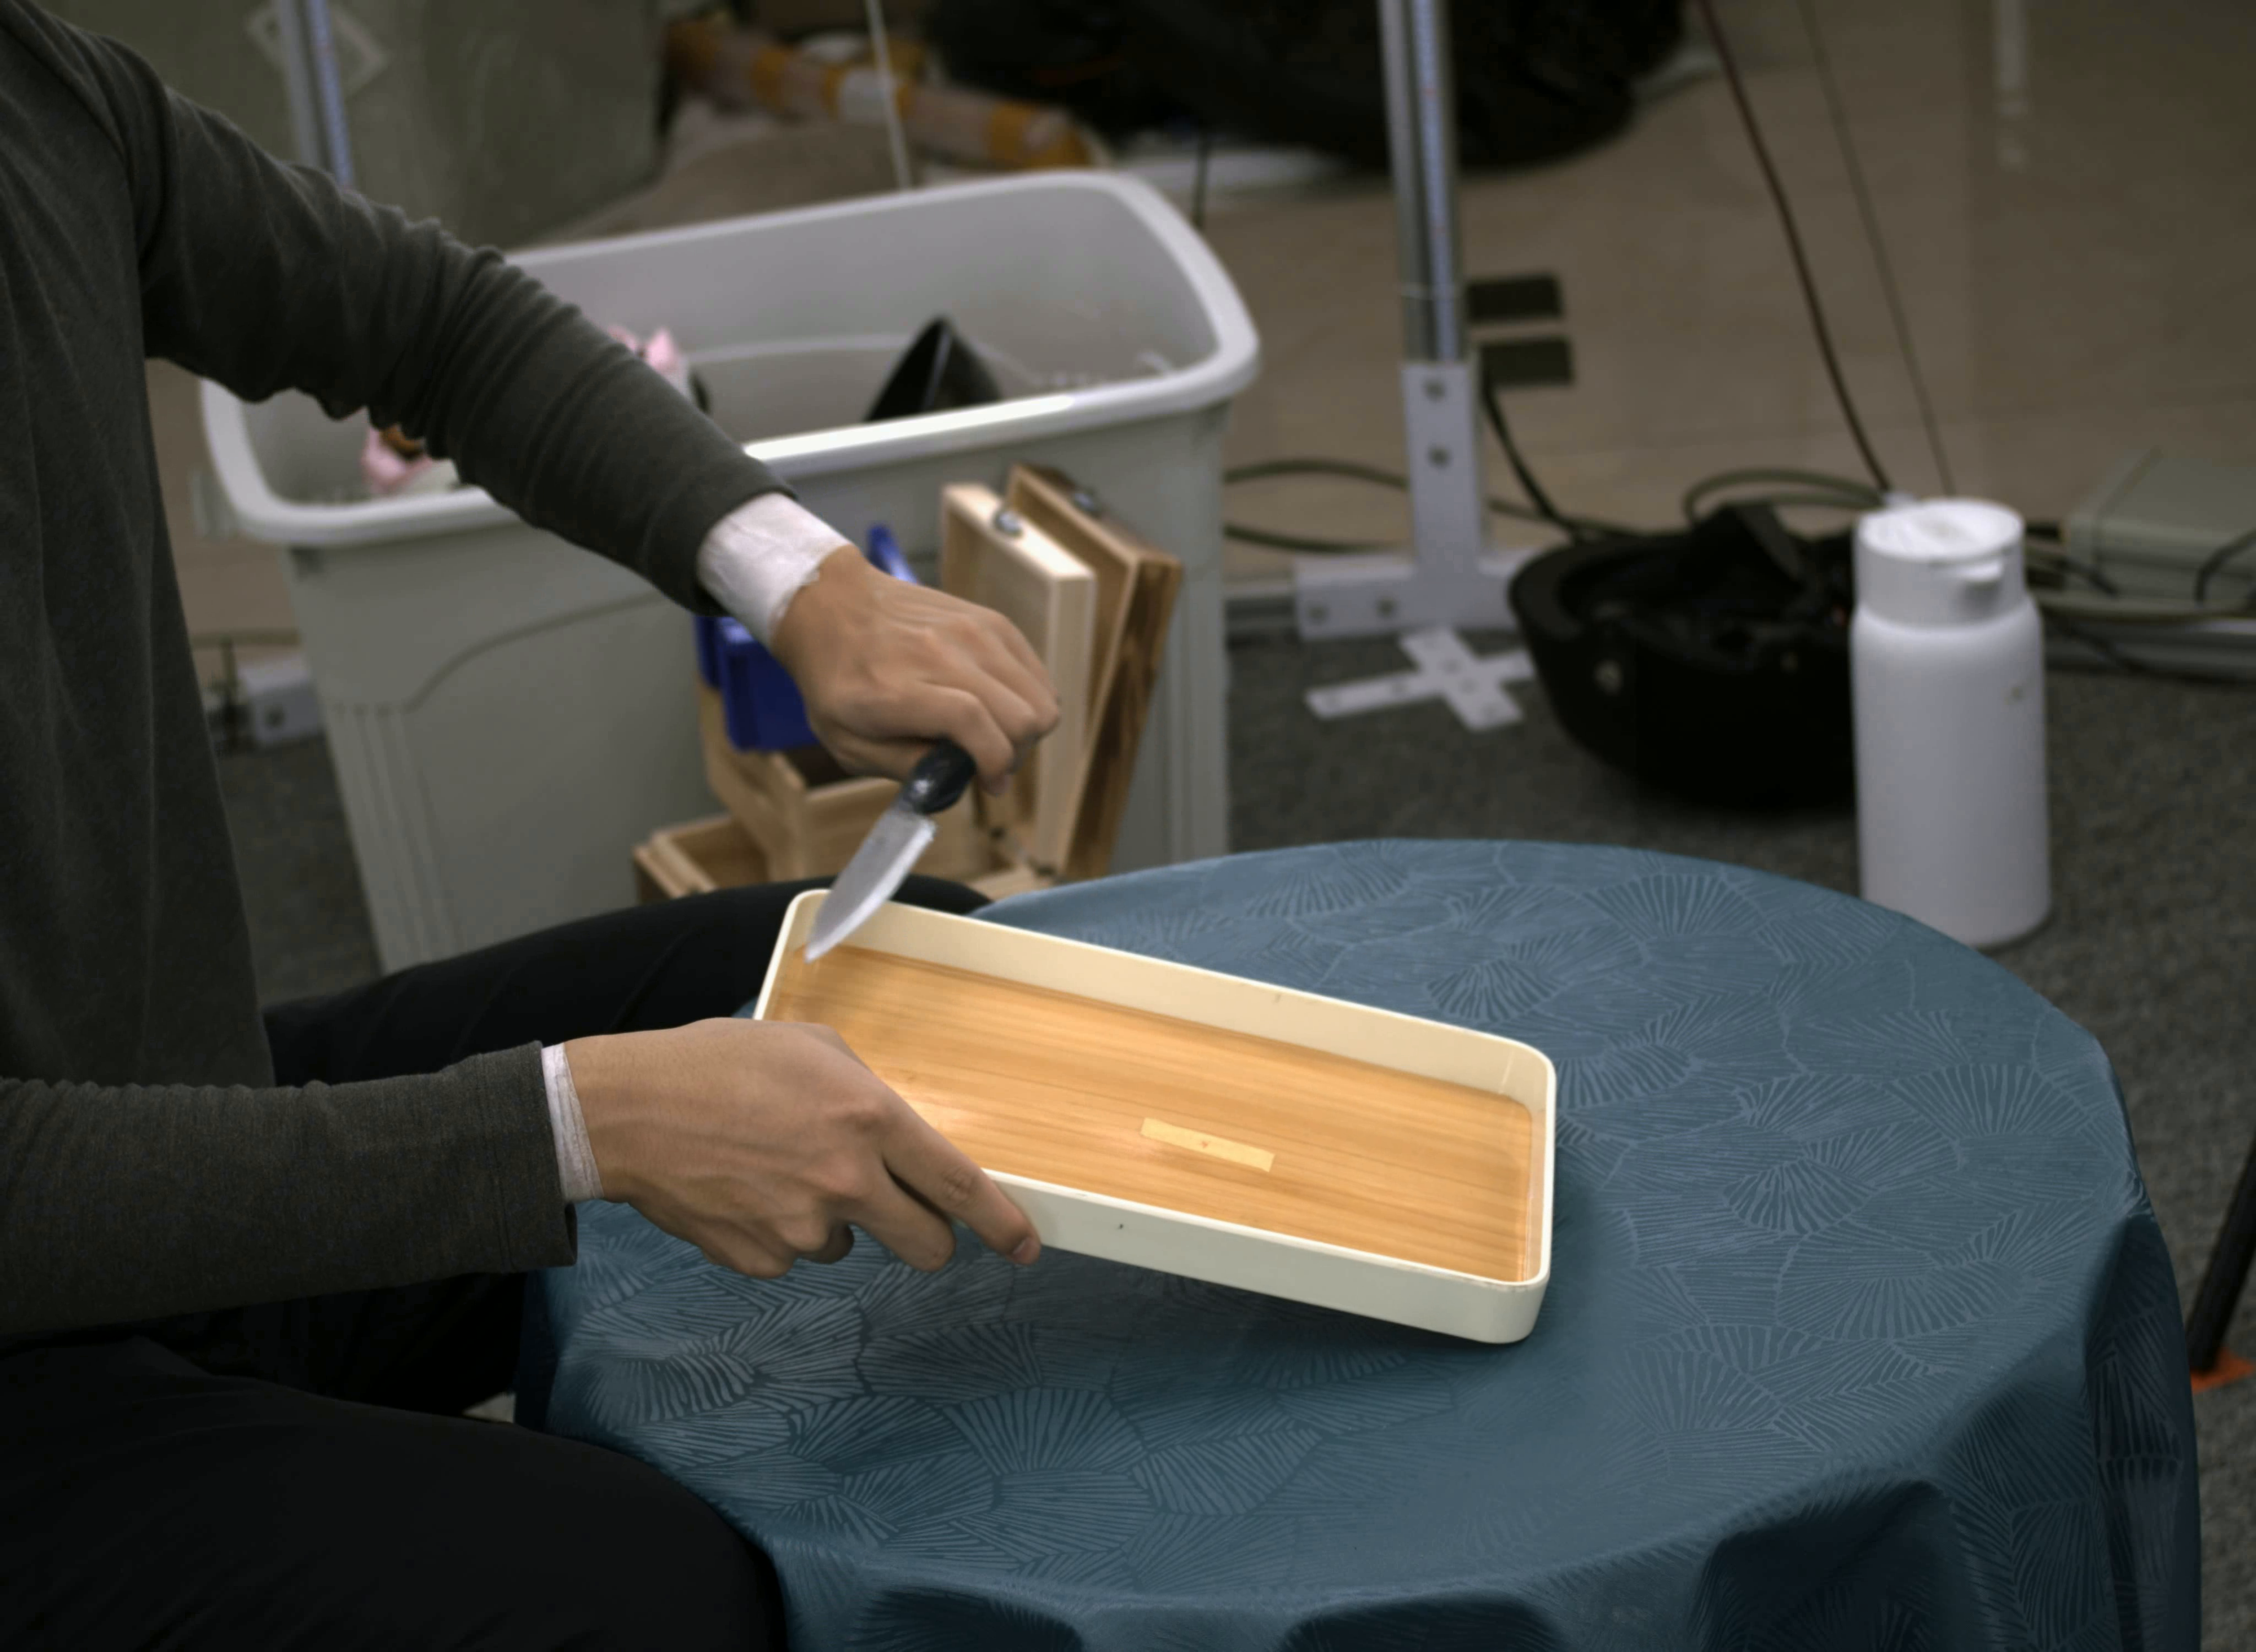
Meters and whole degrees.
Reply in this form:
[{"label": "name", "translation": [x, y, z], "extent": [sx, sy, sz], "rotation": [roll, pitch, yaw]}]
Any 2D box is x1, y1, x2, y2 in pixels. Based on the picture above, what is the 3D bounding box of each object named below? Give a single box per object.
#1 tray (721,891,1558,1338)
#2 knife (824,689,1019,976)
[{"label": "tray", "translation": [0.009, 0.104, 2.088], "extent": [0.300, 0.028, 0.189], "rotation": [13, 25, -1]}, {"label": "knife", "translation": [-0.082, 0.001, 2.172], "extent": [0.024, 0.016, 0.235], "rotation": [17, 30, 7]}]
